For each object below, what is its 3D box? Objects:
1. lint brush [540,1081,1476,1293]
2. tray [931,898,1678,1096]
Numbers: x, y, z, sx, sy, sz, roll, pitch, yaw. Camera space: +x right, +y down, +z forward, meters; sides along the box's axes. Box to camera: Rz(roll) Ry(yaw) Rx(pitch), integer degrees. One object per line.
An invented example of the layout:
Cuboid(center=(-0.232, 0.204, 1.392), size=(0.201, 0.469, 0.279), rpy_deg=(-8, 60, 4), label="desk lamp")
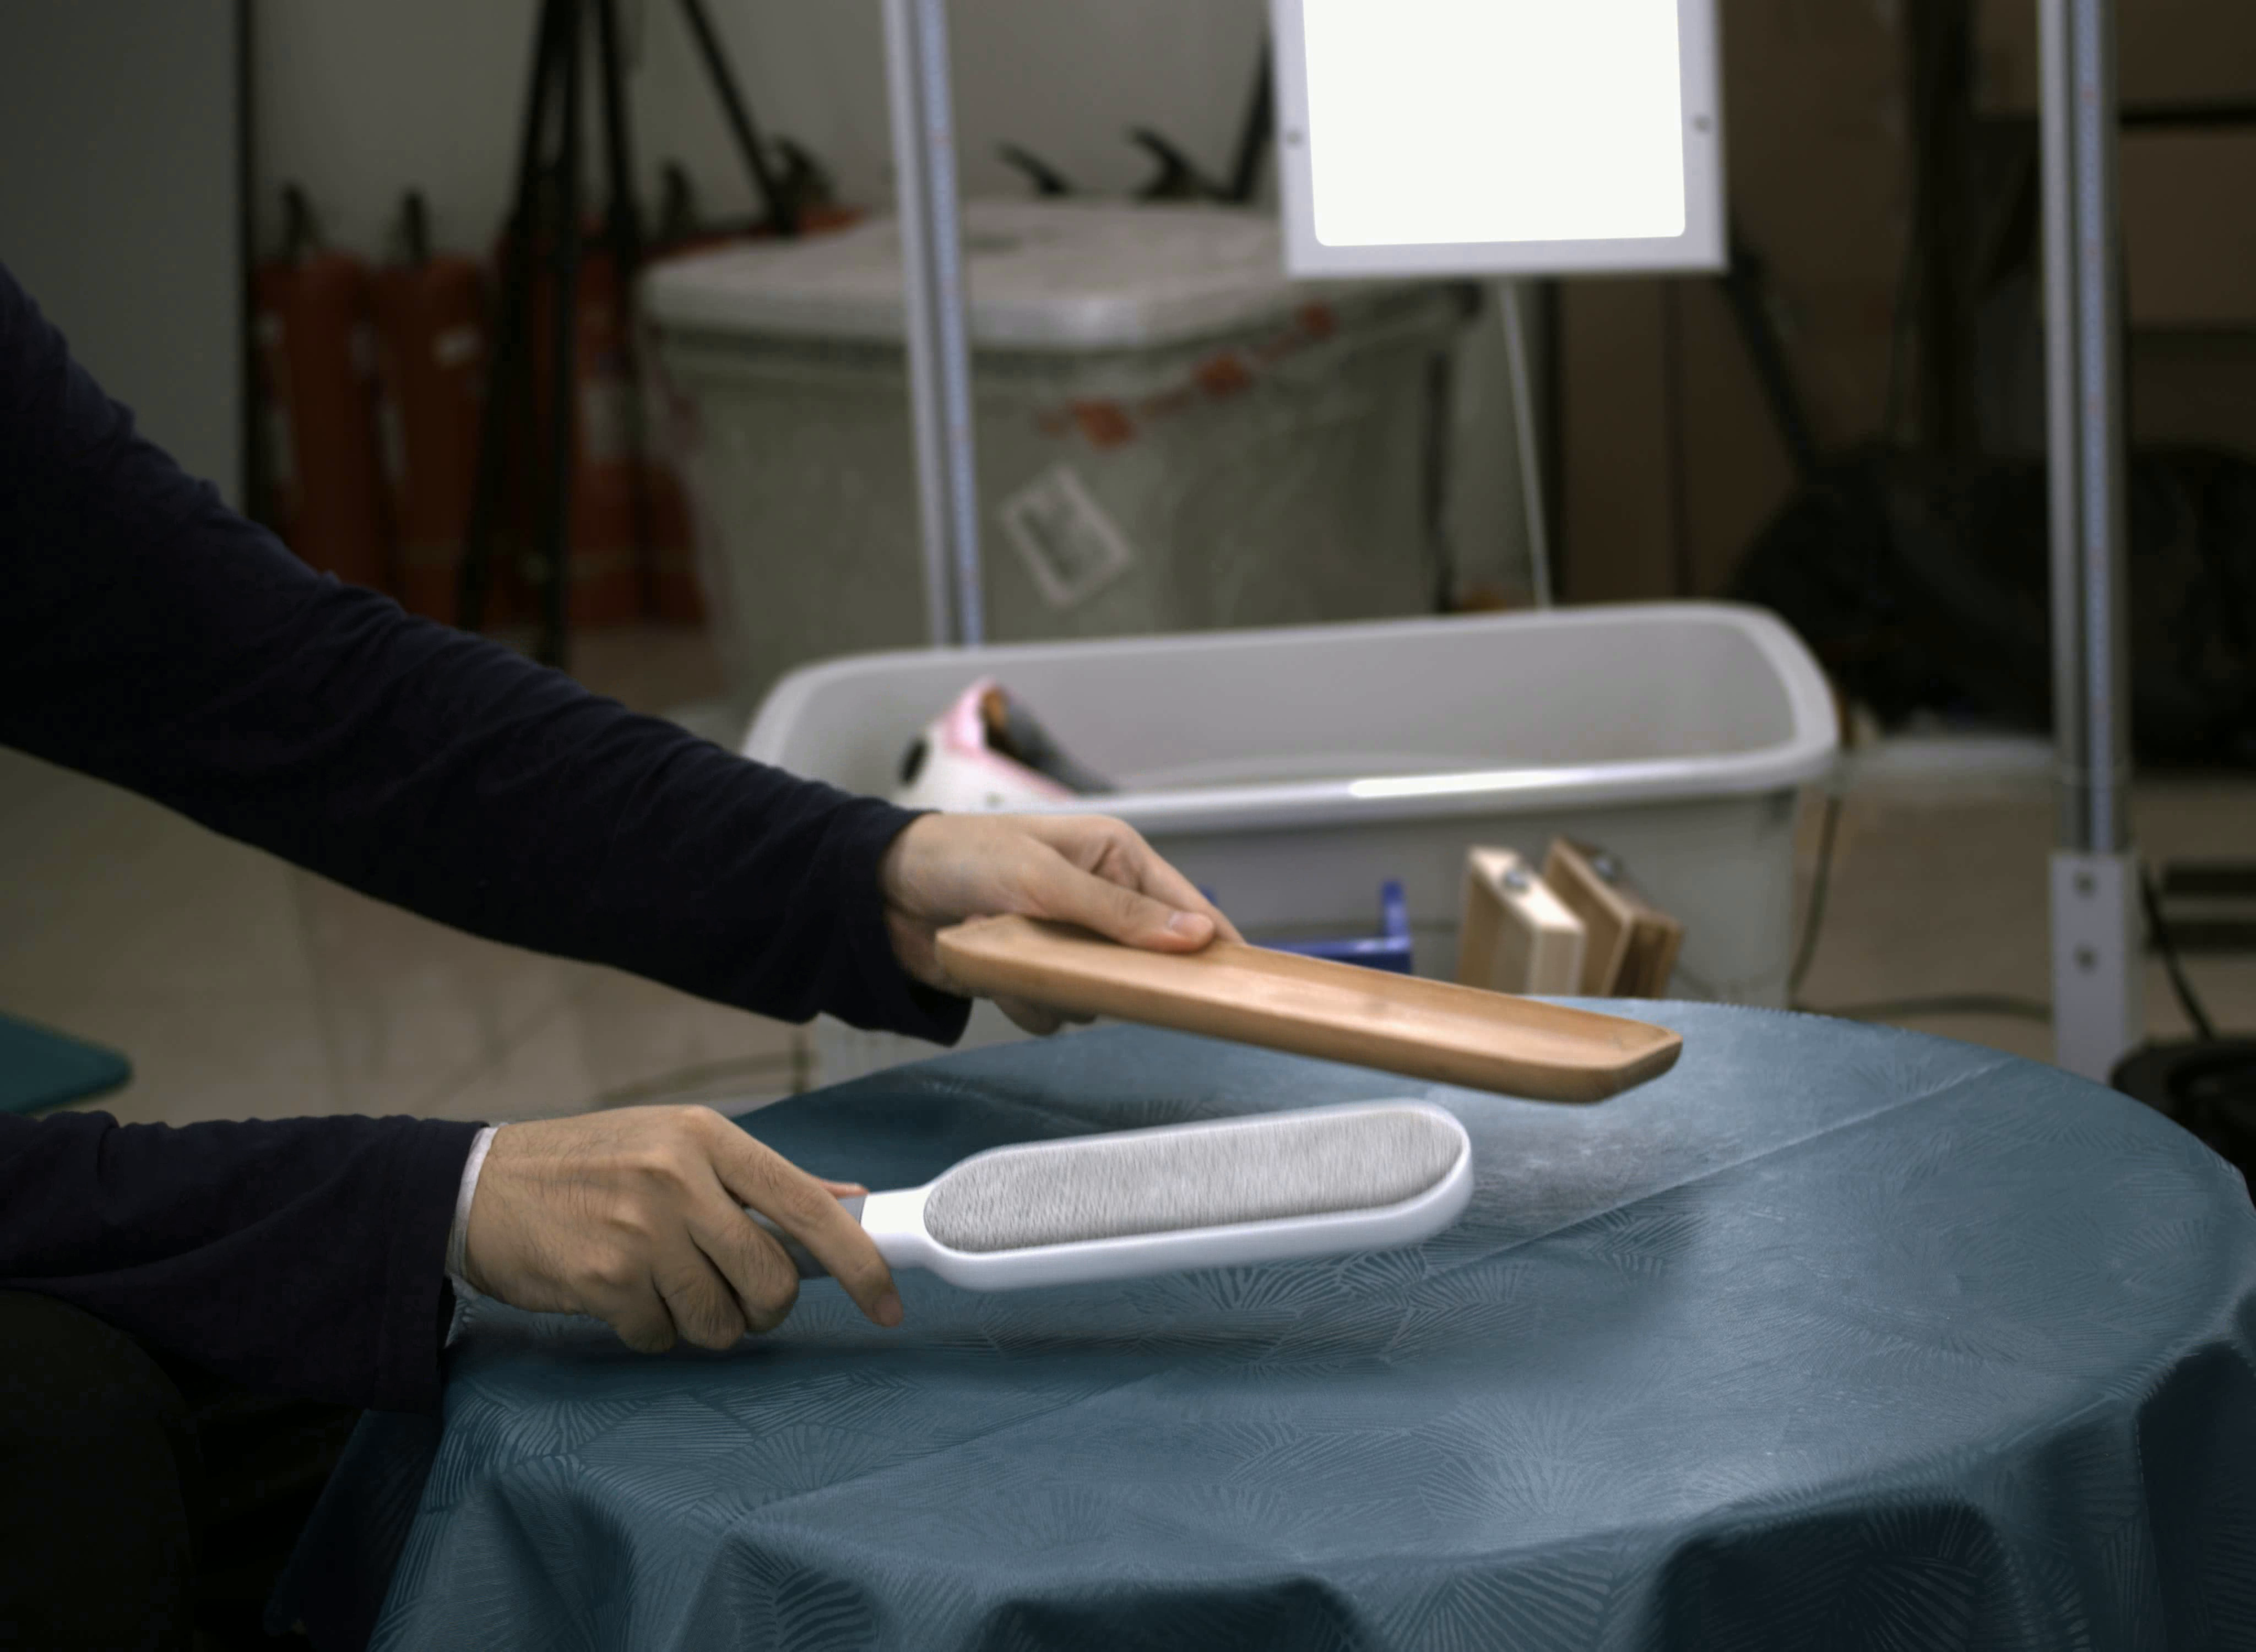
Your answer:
Cuboid(center=(-0.041, 0.119, 1.751), size=(0.312, 0.021, 0.059), rpy_deg=(-8, 42, 15), label="lint brush")
Cuboid(center=(0.060, 0.058, 1.905), size=(0.254, 0.023, 0.128), rpy_deg=(11, 5, 25), label="tray")
